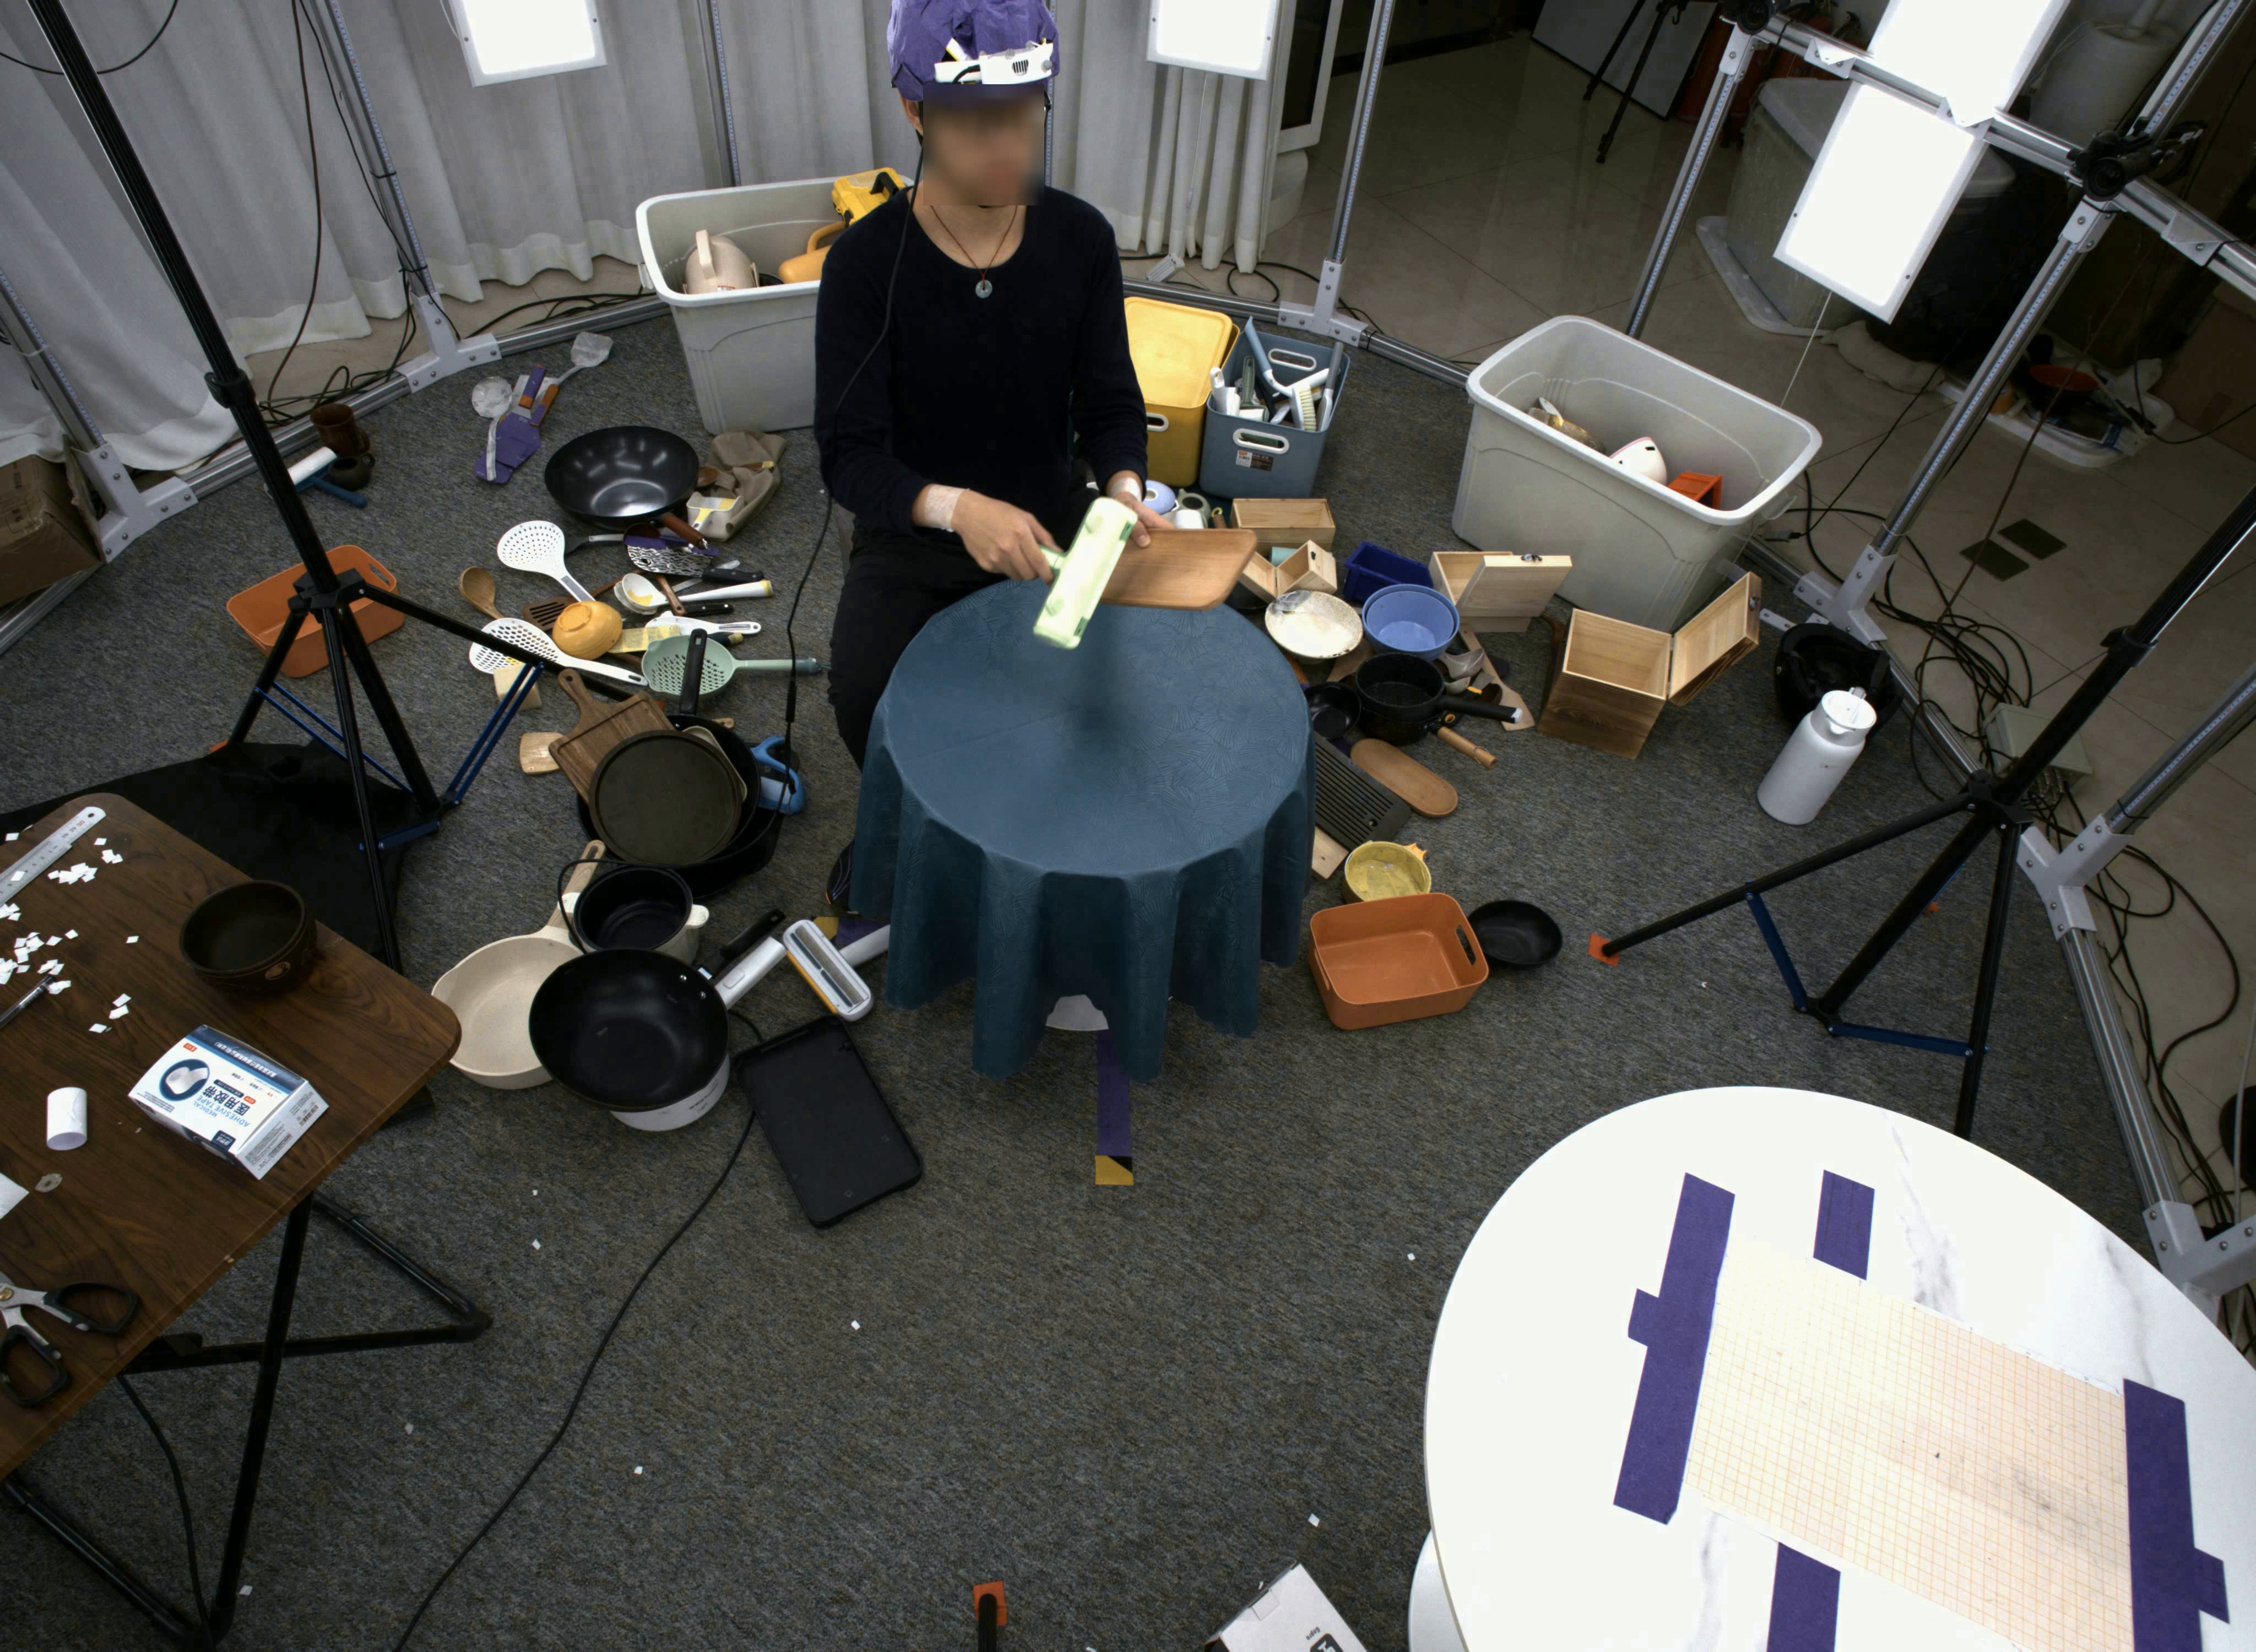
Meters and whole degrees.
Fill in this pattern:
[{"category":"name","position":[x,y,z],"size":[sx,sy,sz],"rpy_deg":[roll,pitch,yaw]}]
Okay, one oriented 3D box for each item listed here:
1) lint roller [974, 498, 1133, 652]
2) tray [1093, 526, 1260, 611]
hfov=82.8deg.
[{"category":"lint roller","position":[-0.113,-0.341,1.624],"size":[0.183,0.081,0.200],"rpy_deg":[24,82,4]},{"category":"tray","position":[0.054,-0.328,1.638],"size":[0.253,0.022,0.132],"rpy_deg":[13,63,47]}]
